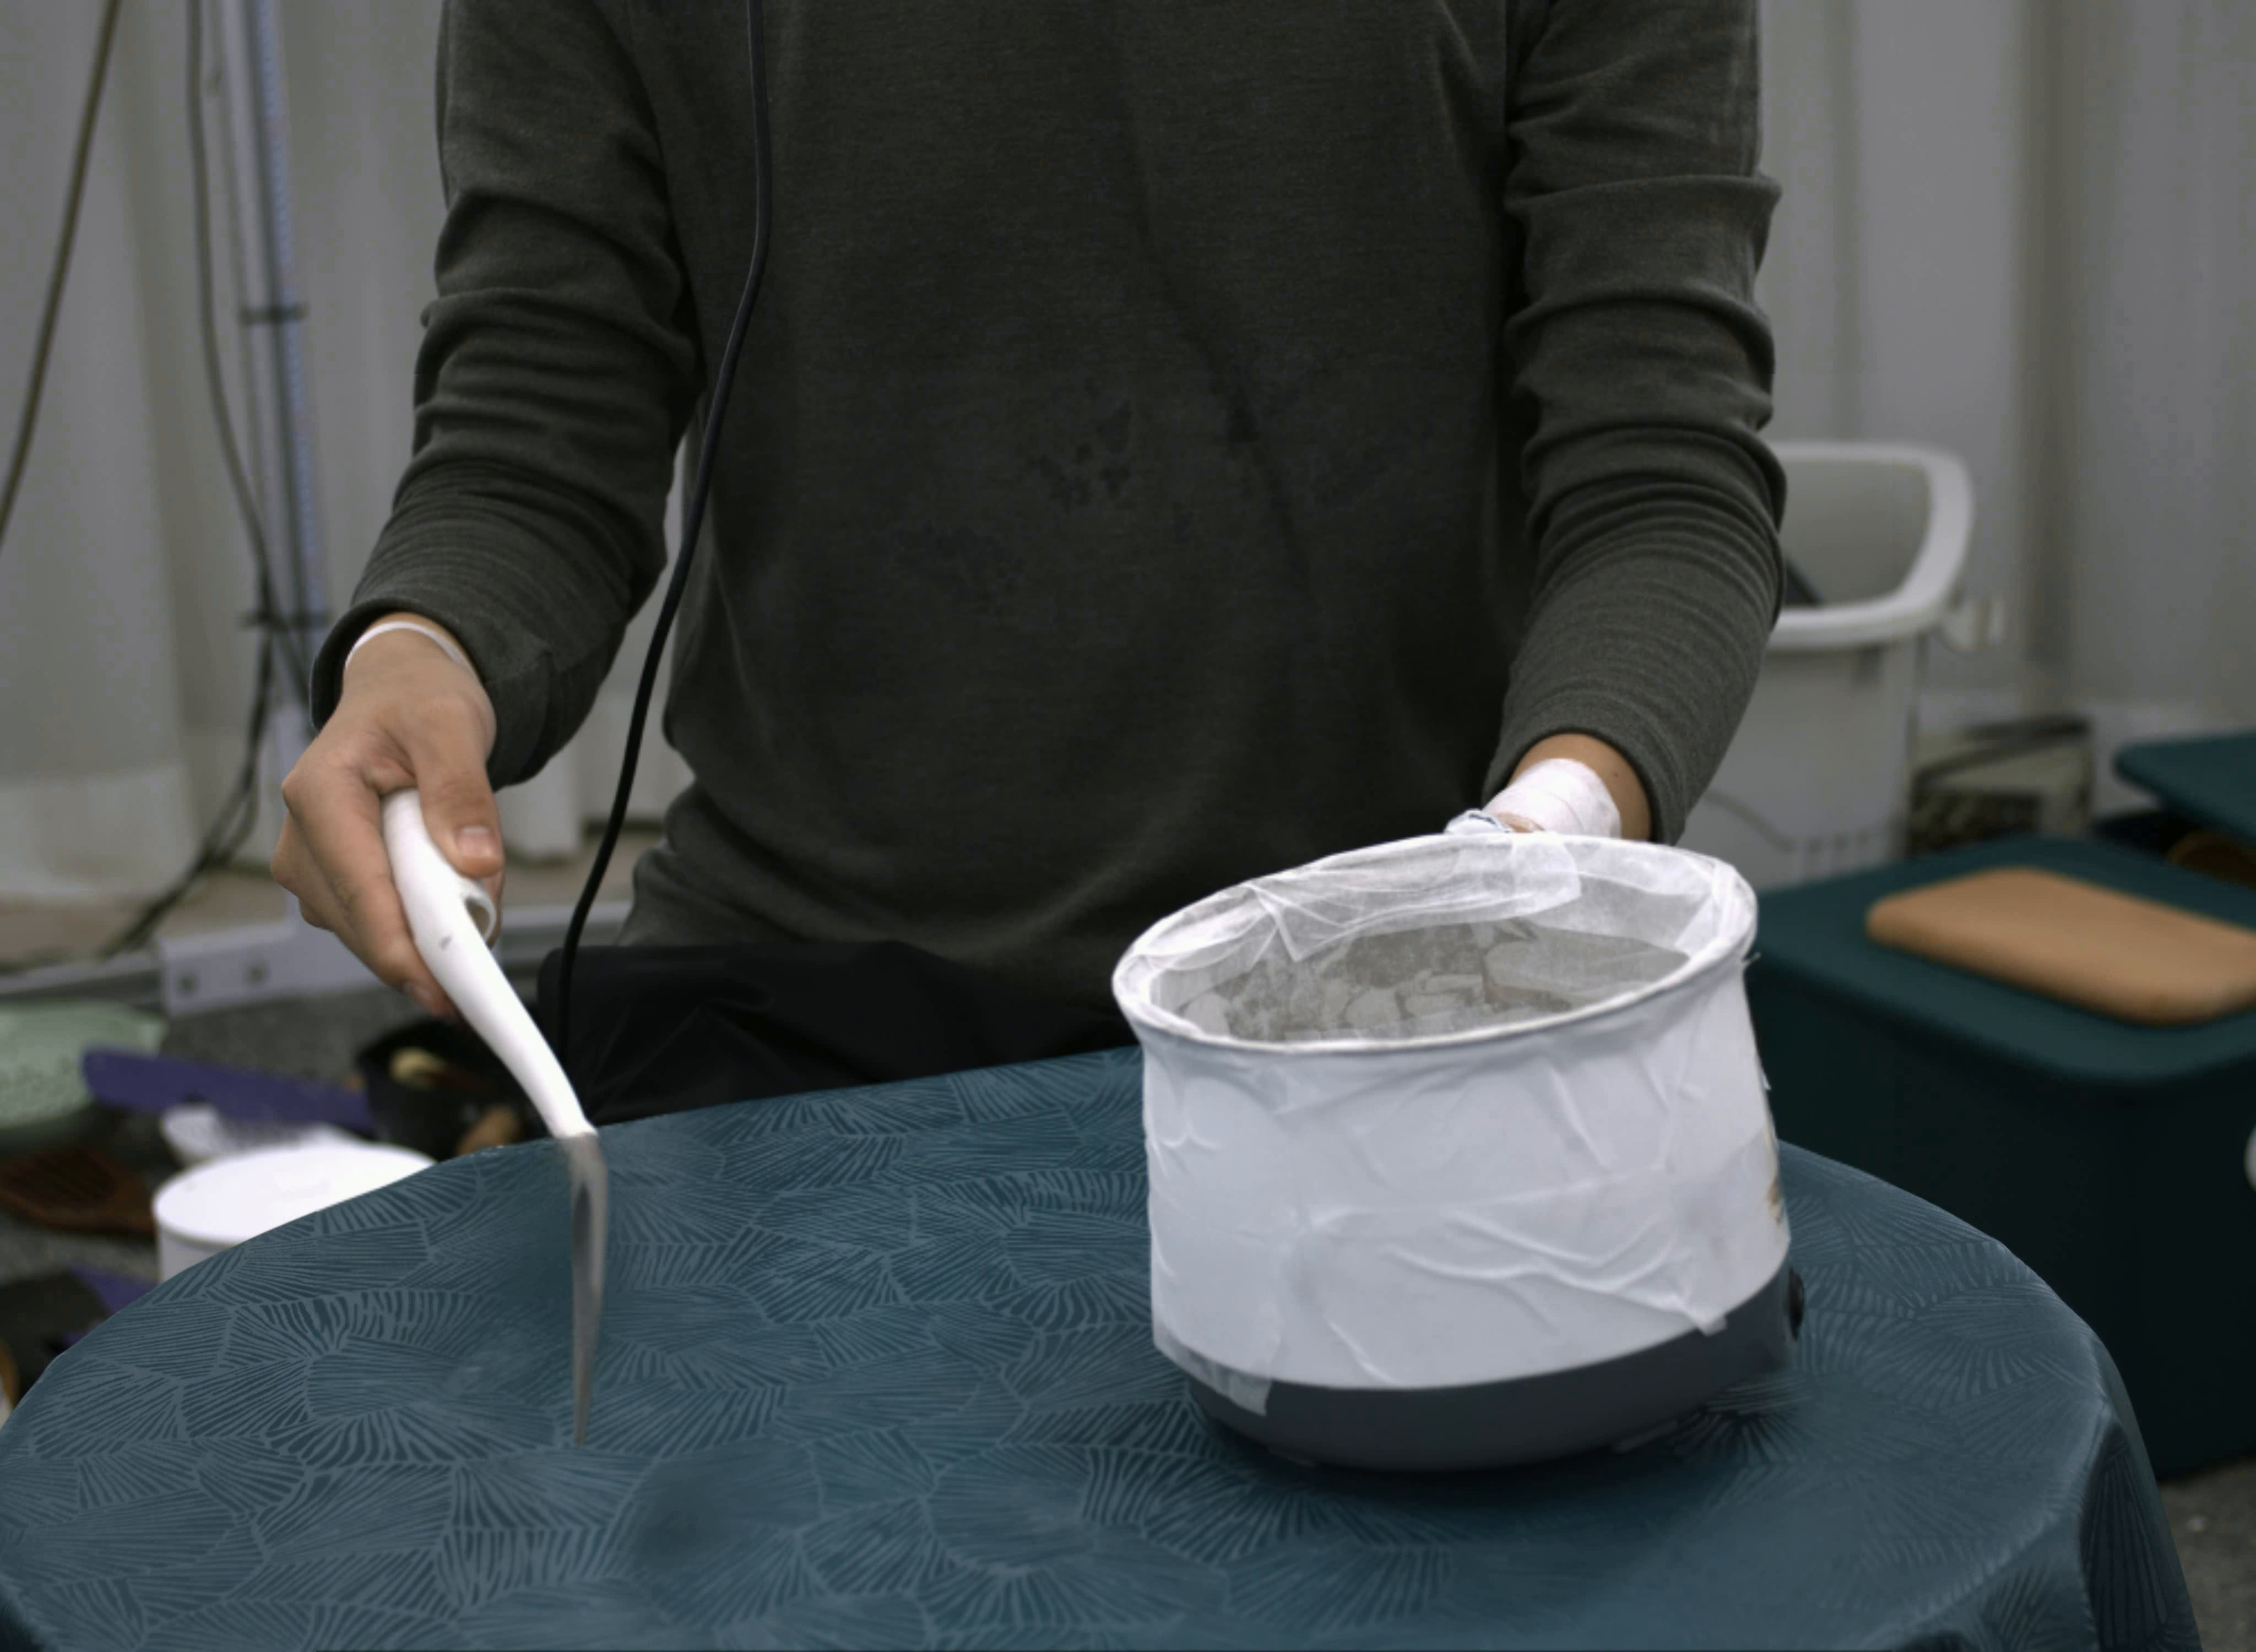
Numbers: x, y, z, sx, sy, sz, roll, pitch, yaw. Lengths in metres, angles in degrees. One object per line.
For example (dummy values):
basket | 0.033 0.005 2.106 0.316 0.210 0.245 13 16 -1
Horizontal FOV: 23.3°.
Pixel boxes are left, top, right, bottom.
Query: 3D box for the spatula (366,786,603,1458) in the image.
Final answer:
spatula | -0.174 0.073 1.544 0.032 0.058 0.291 -1 30 -19

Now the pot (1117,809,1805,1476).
pot | 0.096 0.082 1.530 0.178 0.136 0.235 -4 16 11
